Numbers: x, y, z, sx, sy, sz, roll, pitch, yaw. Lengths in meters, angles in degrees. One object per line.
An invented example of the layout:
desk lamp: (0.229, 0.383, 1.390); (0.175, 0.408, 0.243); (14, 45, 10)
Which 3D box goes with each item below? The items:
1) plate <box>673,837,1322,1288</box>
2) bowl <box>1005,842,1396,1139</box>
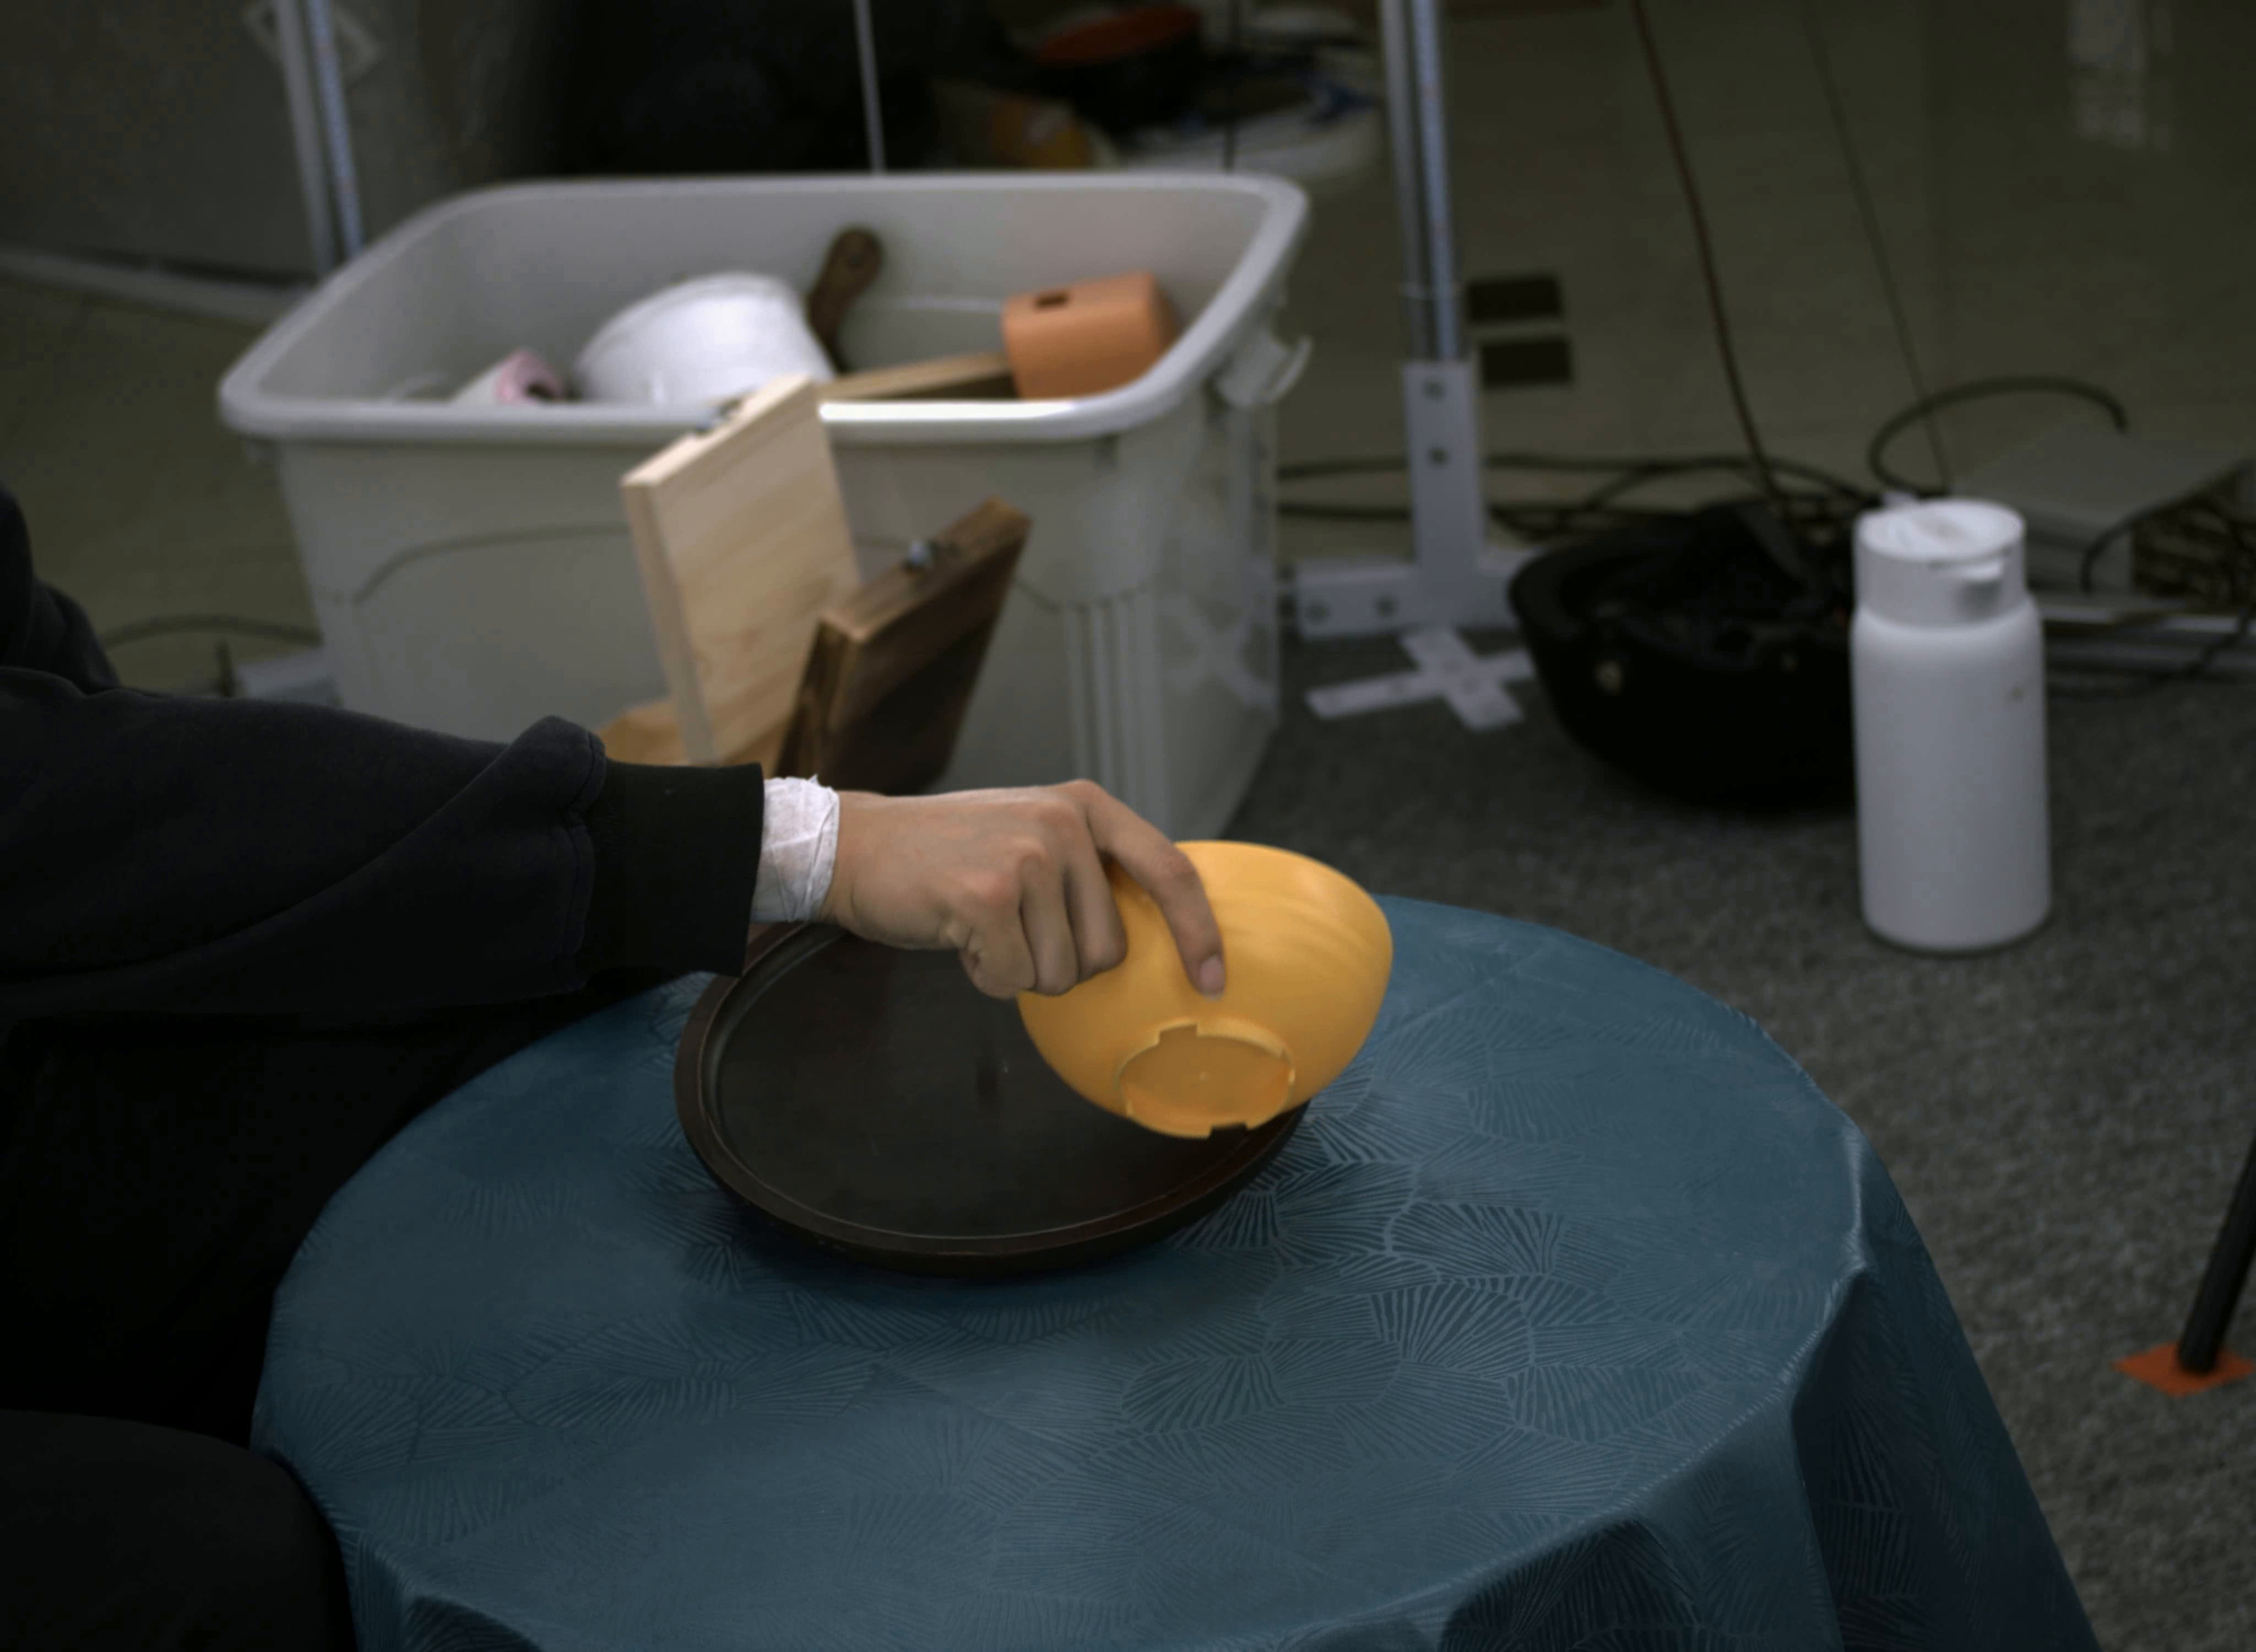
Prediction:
plate: (-0.049, 0.093, 2.188); (0.254, 0.029, 0.250); (-4, 38, 3)
bowl: (0.027, 0.073, 2.083); (0.145, 0.148, 0.059); (-4, 52, 5)
